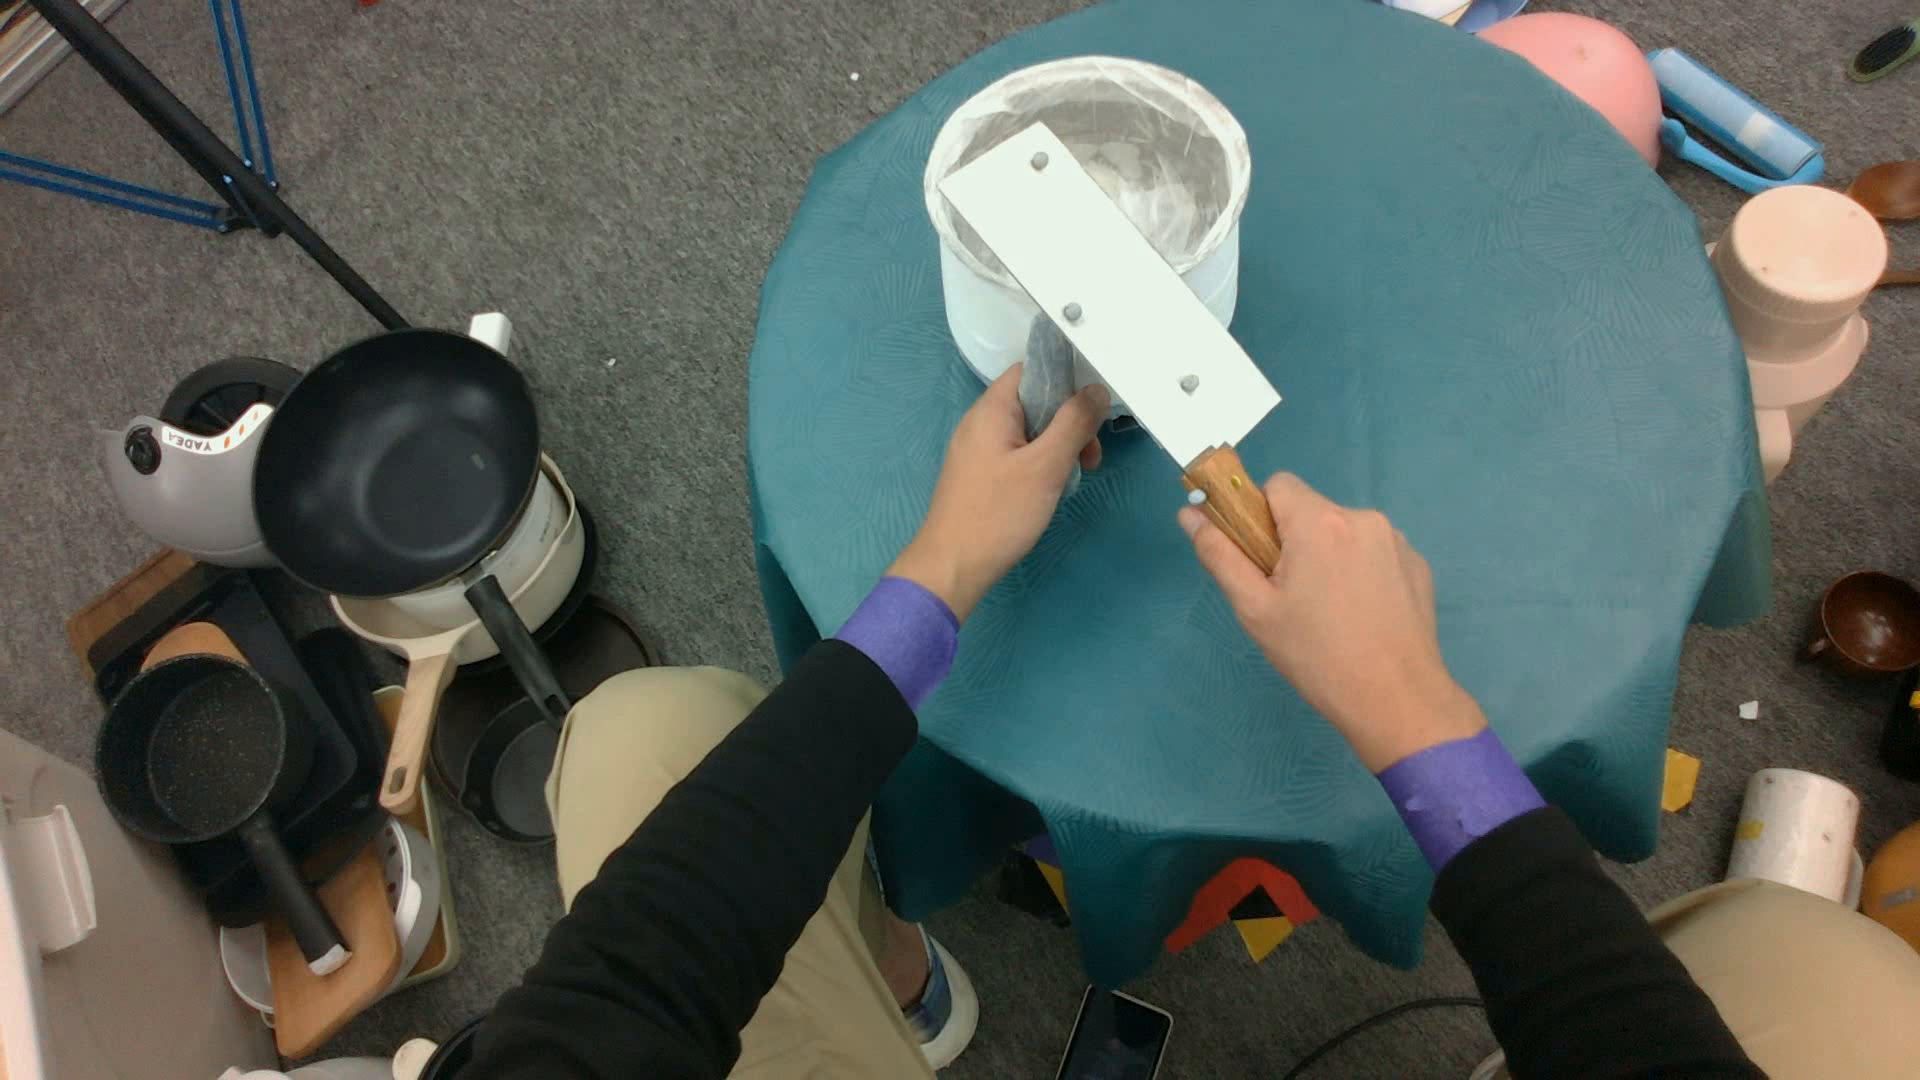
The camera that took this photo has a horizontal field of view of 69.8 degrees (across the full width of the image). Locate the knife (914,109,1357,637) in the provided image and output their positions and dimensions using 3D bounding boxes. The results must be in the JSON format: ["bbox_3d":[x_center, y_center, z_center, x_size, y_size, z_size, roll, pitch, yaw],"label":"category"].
[{"bbox_3d":[0.101,-0.089,0.682,0.305,0.021,0.093,49,55,-3],"label":"knife"}]

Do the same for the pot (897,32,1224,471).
[{"bbox_3d":[0.055,-0.161,0.790,0.178,0.136,0.234,6,61,10],"label":"pot"}]
